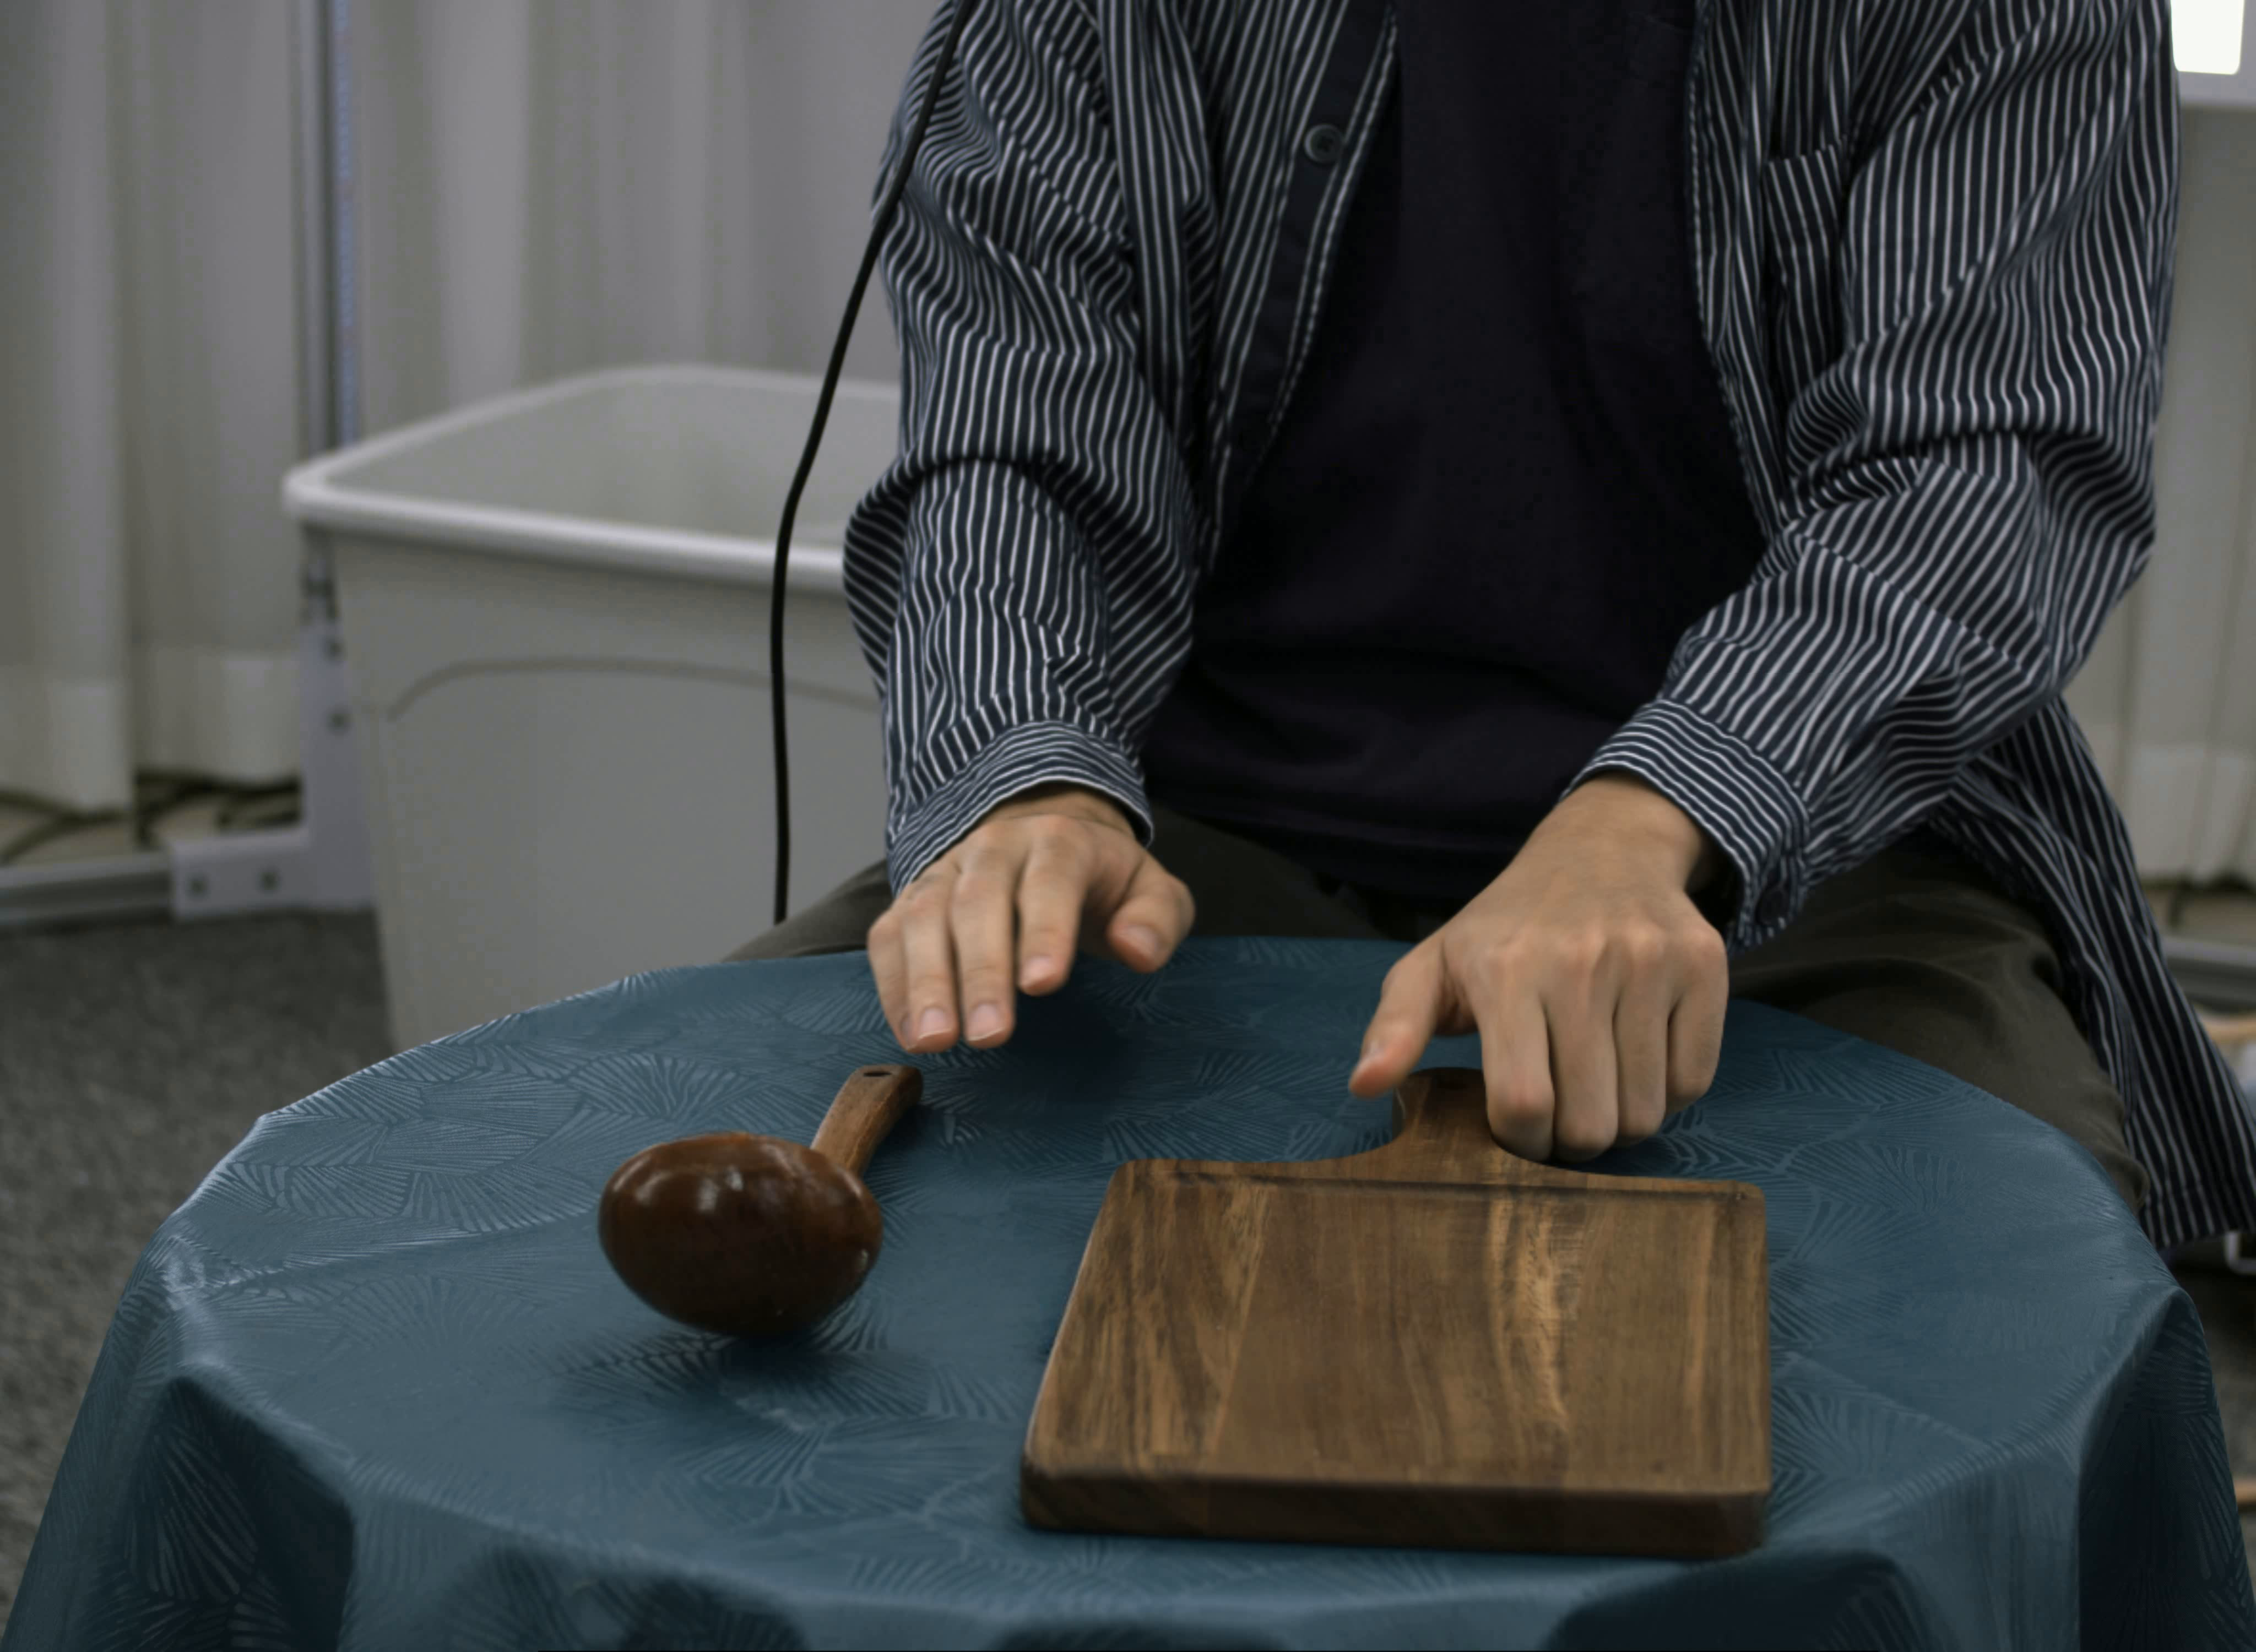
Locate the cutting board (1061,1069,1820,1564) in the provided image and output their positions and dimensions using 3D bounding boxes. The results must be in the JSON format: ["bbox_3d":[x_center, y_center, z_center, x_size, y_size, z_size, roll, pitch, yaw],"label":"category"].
[{"bbox_3d":[0.099,0.132,1.521,0.200,0.023,0.351,2,15,7],"label":"cutting board"}]

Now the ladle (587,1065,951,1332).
[{"bbox_3d":[-0.095,0.086,1.575,0.081,0.077,0.273,3,16,9],"label":"ladle"}]
